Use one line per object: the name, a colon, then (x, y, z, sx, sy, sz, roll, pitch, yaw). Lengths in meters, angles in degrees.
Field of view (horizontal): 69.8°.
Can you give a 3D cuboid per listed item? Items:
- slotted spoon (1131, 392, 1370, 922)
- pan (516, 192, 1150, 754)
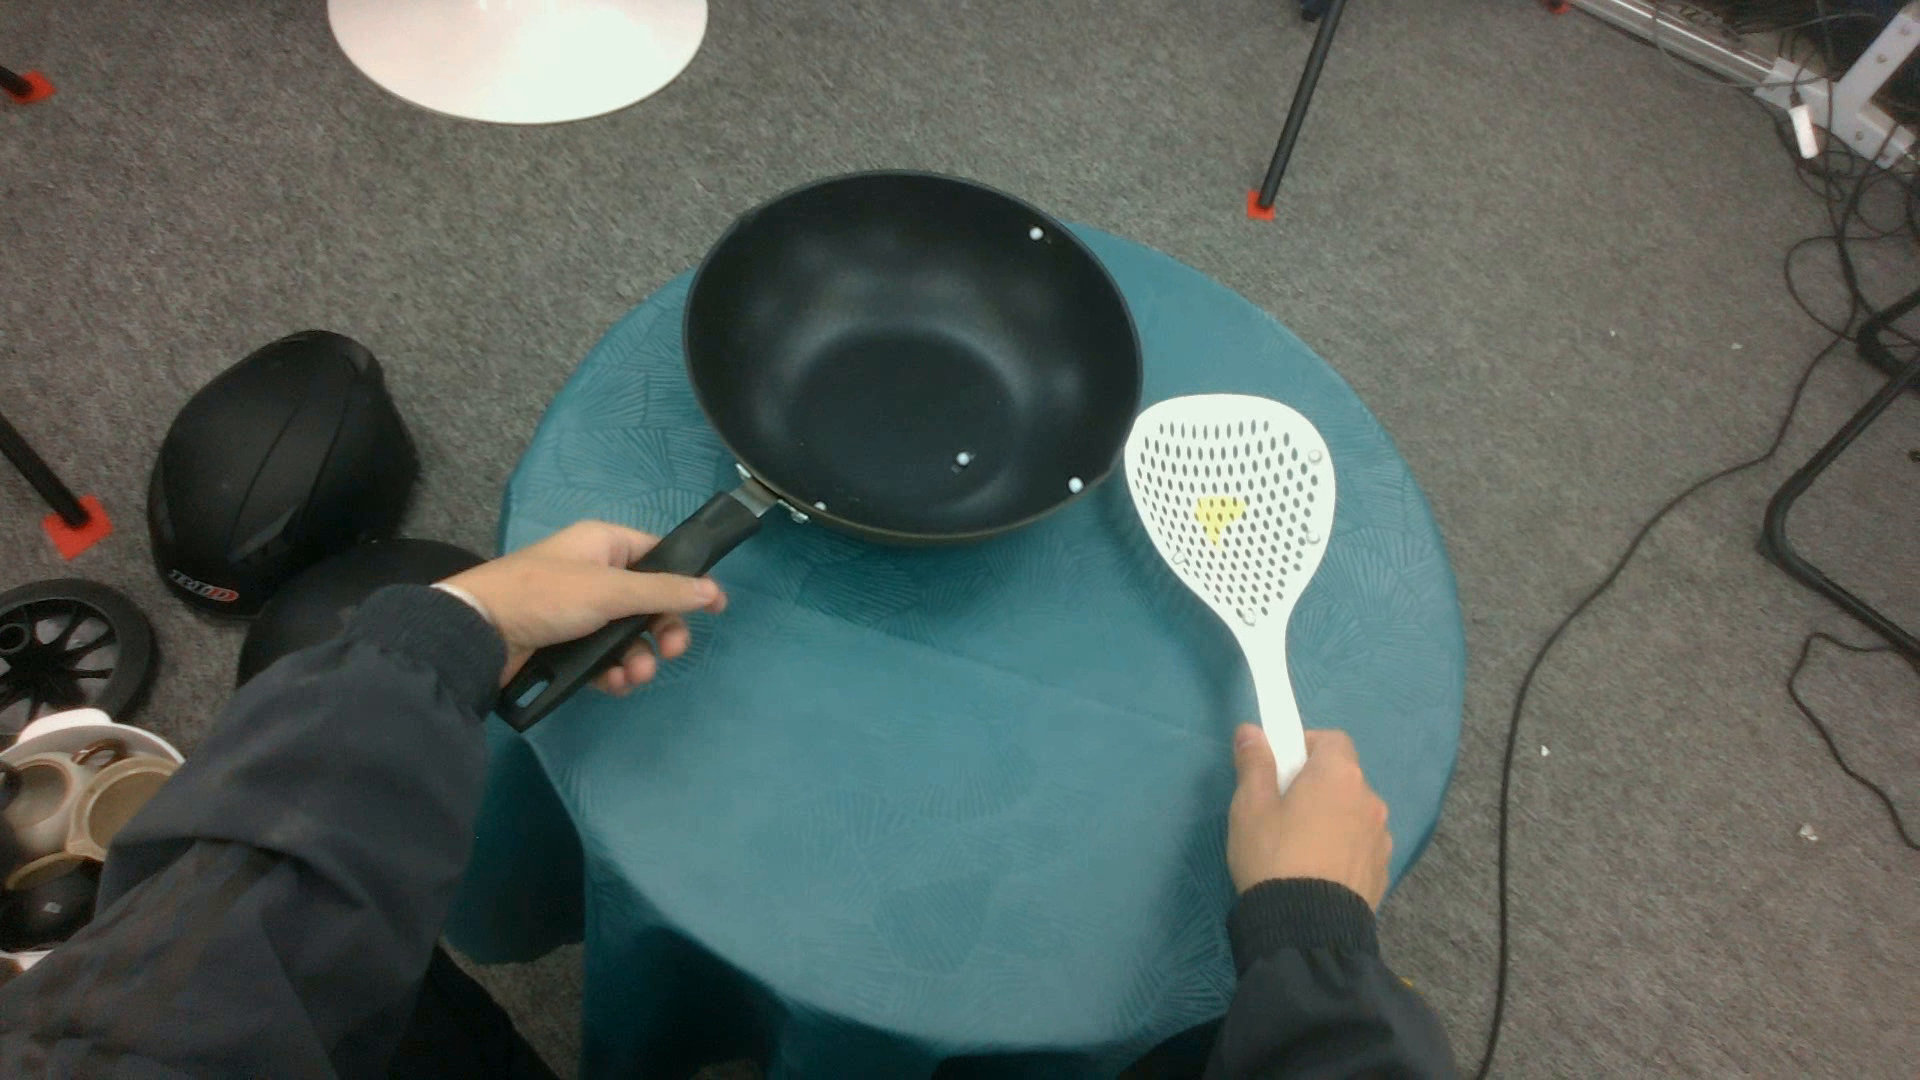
slotted spoon: (0.190, 0.055, 0.832, 0.137, 0.050, 0.349, -4, 54, -5)
pan: (-0.079, -0.030, 0.834, 0.288, 0.086, 0.465, 34, 62, 14)
